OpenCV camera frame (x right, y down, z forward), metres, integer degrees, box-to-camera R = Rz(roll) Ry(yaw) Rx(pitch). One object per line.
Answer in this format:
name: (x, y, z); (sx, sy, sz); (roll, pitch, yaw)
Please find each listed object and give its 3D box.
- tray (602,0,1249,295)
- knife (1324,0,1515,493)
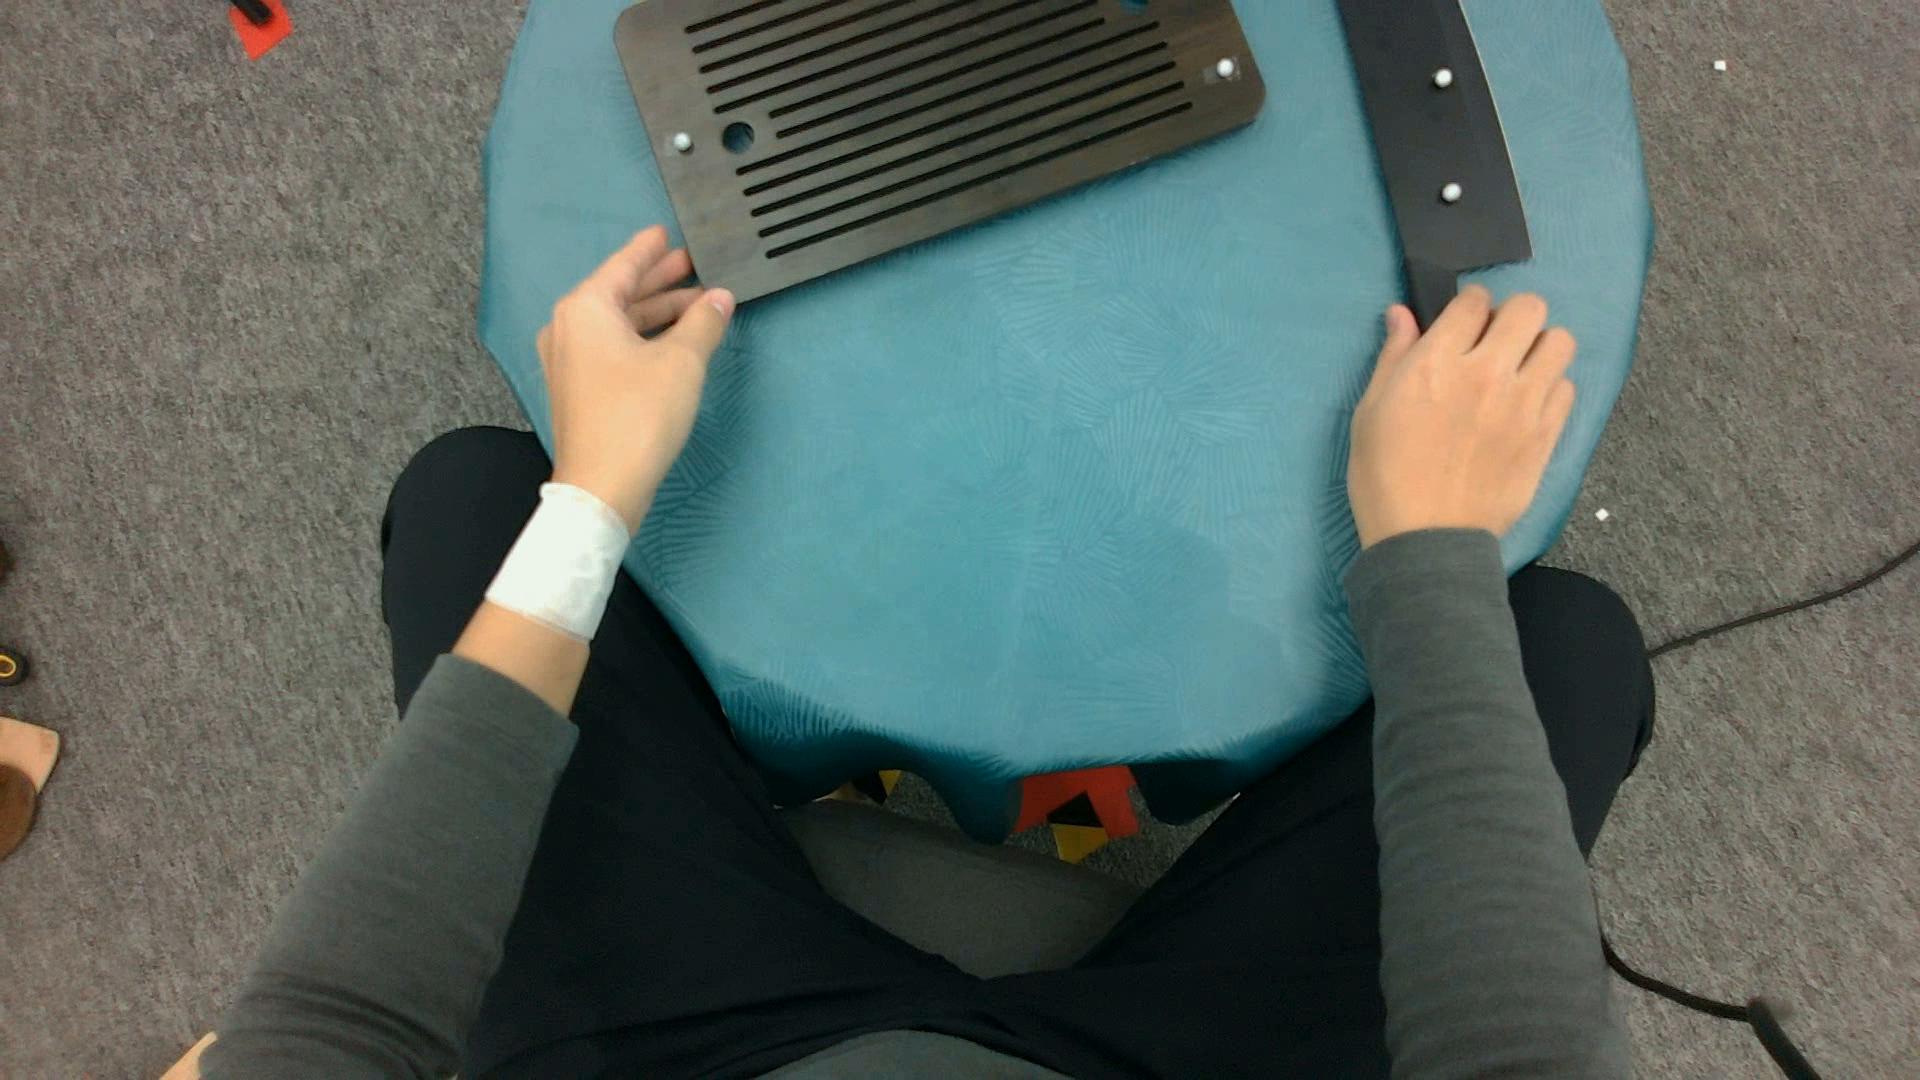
tray: (-0.018, -0.250, 0.715); (0.306, 0.018, 0.170); (-20, 82, -2)
knife: (0.242, -0.171, 0.704); (0.081, 0.021, 0.303); (-6, 80, -3)
